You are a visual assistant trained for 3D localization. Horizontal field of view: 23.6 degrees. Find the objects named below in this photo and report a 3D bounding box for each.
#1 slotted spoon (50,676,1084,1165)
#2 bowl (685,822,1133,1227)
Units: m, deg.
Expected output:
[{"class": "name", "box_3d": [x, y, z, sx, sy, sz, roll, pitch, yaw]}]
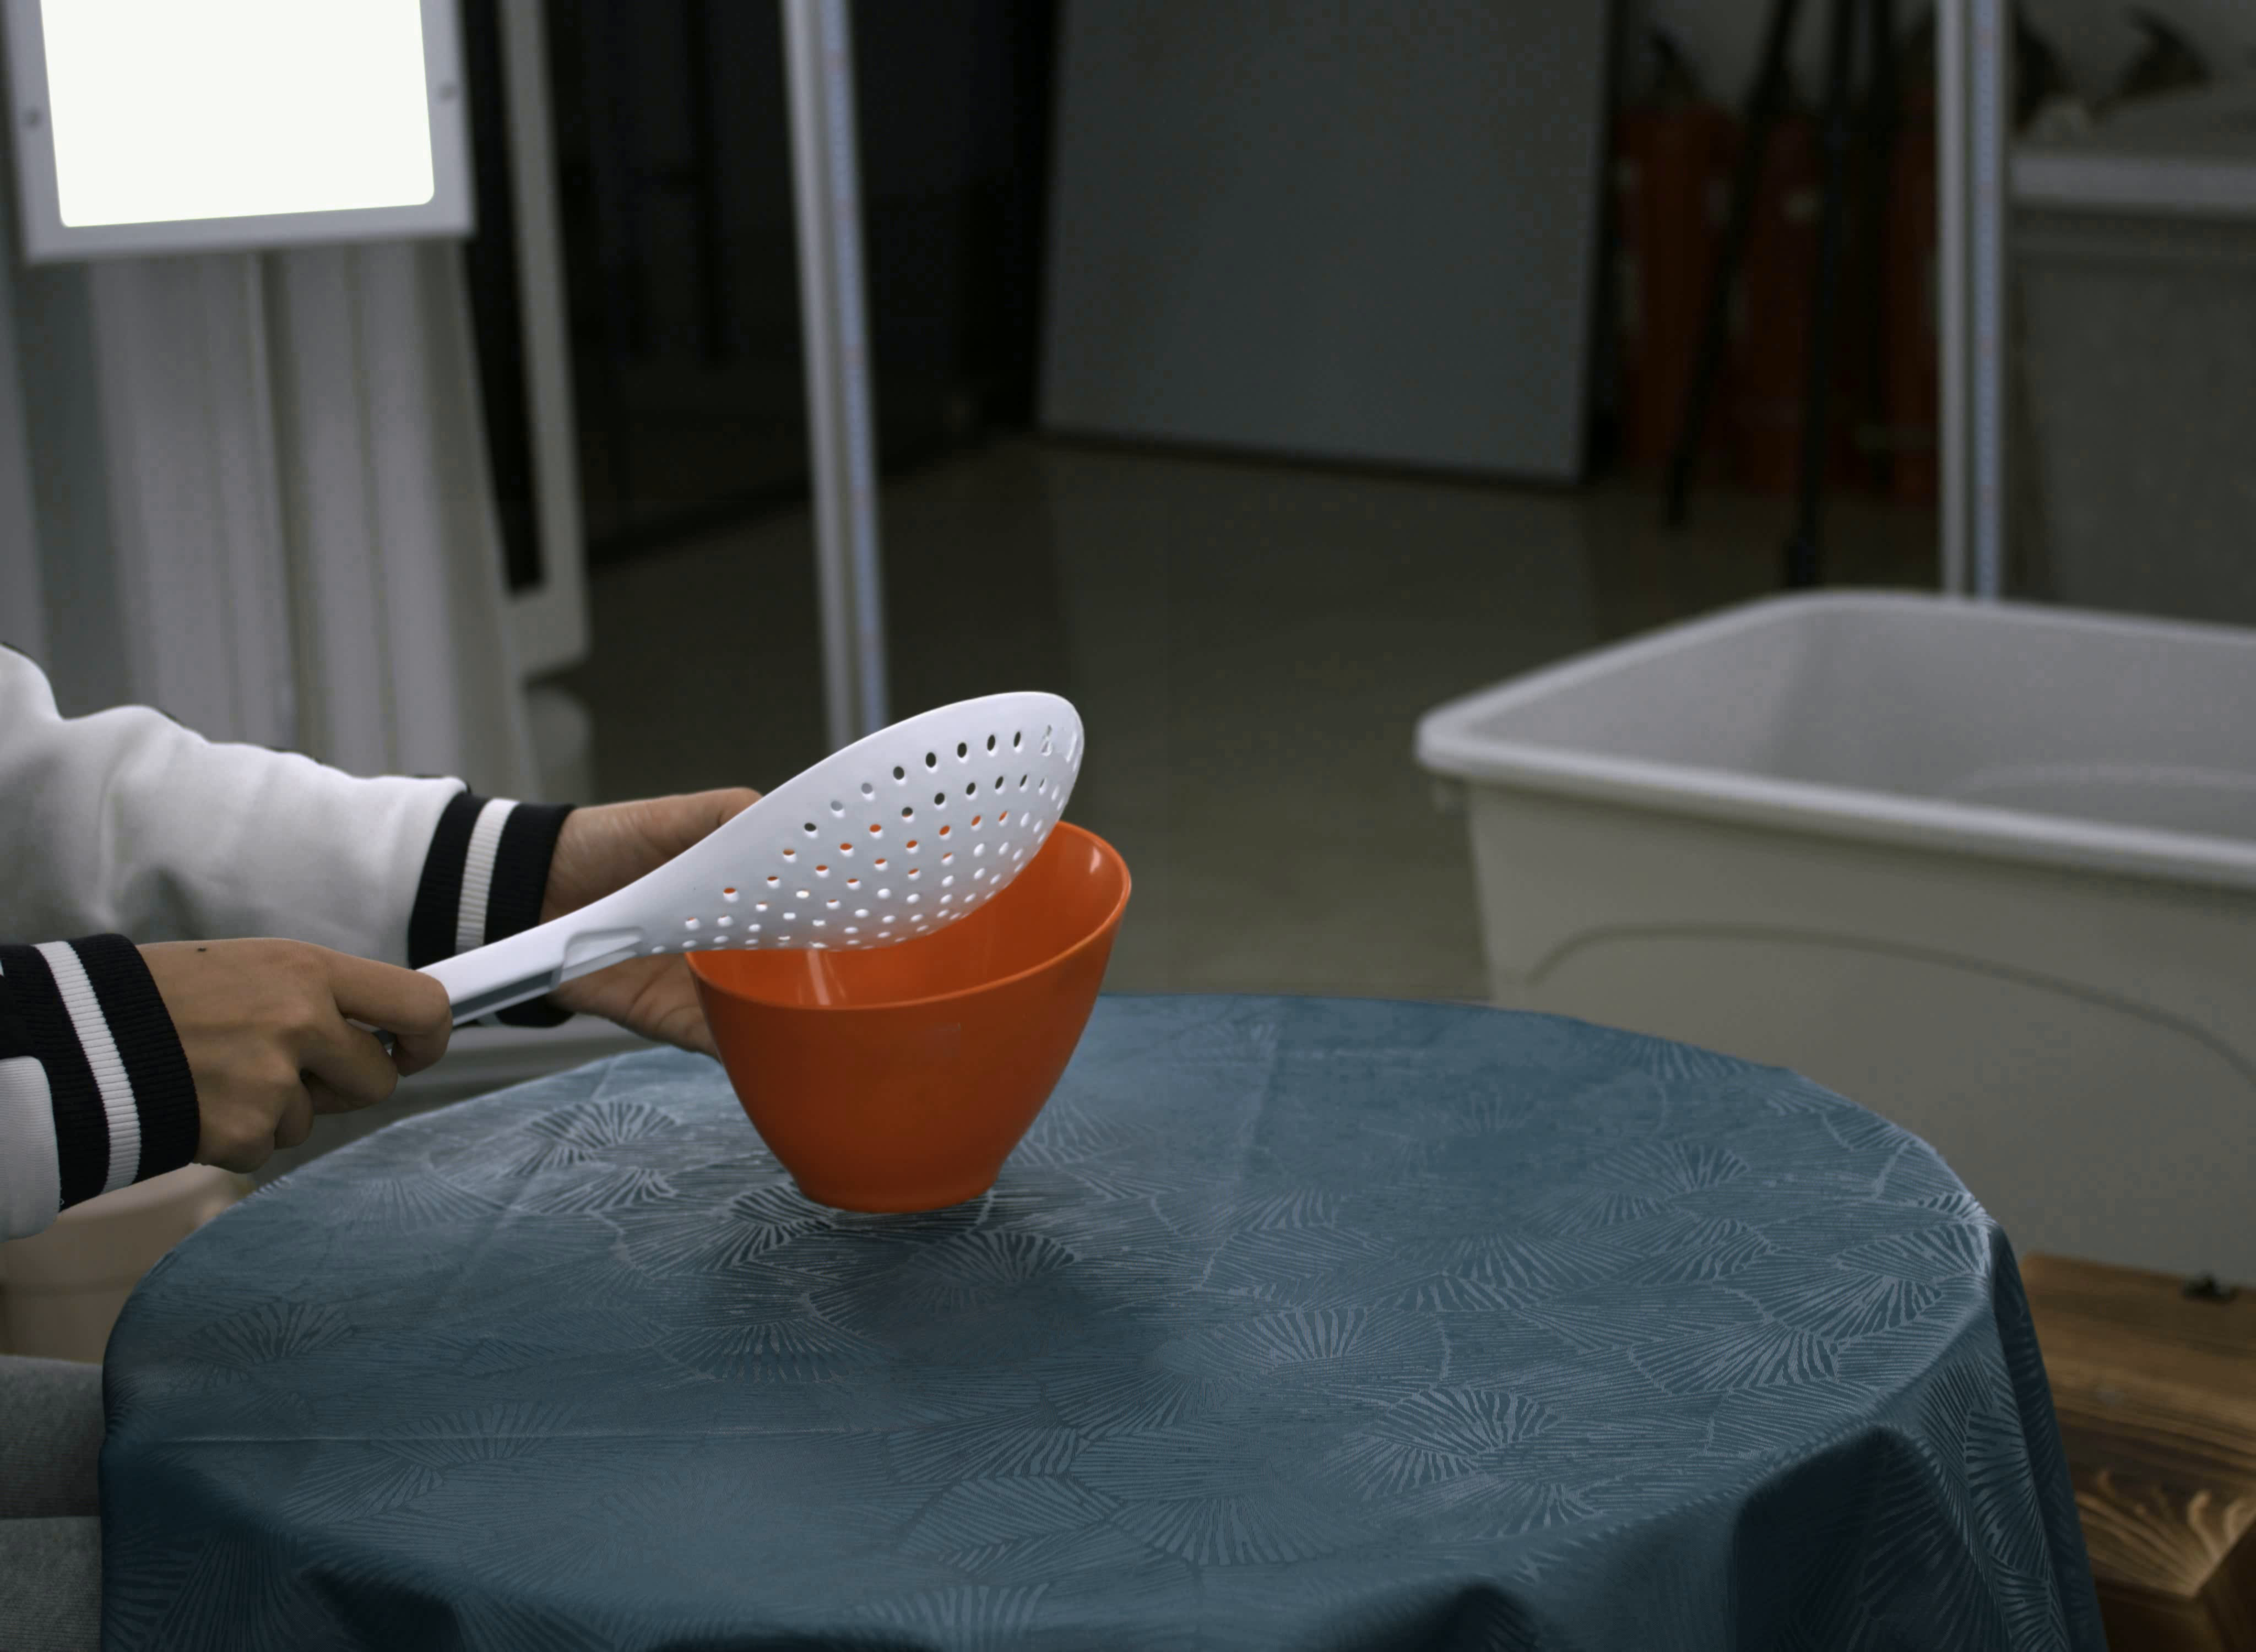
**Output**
[{"class": "slotted spoon", "box_3d": [-0.167, 0.034, 1.676, 0.343, 0.046, 0.136, -16, -23, -15]}, {"class": "bowl", "box_3d": [-0.070, 0.068, 1.761, 0.146, 0.106, 0.148, -2, 17, 0]}]
